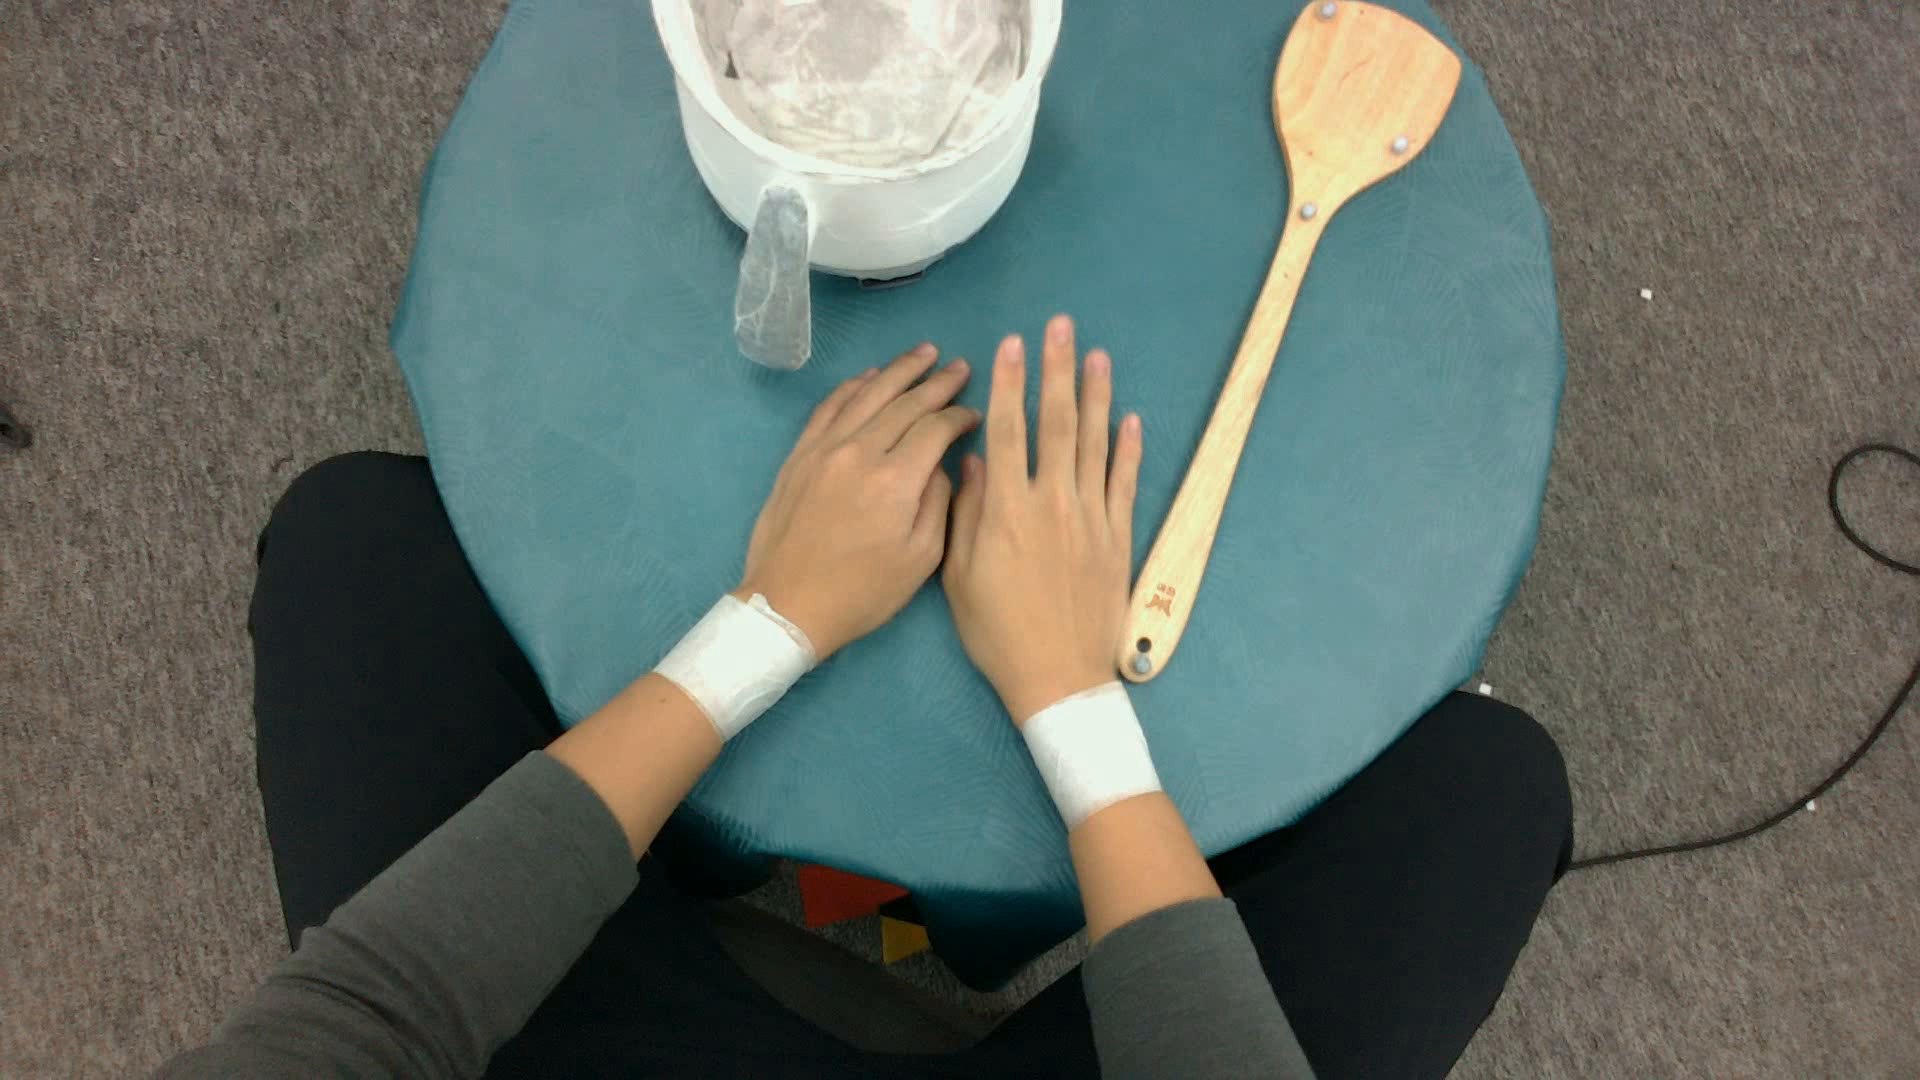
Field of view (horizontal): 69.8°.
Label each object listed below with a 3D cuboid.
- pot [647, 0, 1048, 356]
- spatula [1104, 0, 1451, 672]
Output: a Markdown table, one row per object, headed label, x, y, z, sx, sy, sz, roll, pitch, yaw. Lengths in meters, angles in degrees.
| label | x | y | z | sx | sy | sz | roll | pitch | yaw |
| --- | --- | --- | --- | --- | --- | --- | --- | --- | --- |
| pot | -0.062 | -0.207 | 0.656 | 0.179 | 0.136 | 0.234 | 17 | 78 | -2 |
| spatula | 0.157 | -0.111 | 0.720 | 0.096 | 0.018 | 0.391 | 22 | 78 | 1 |
